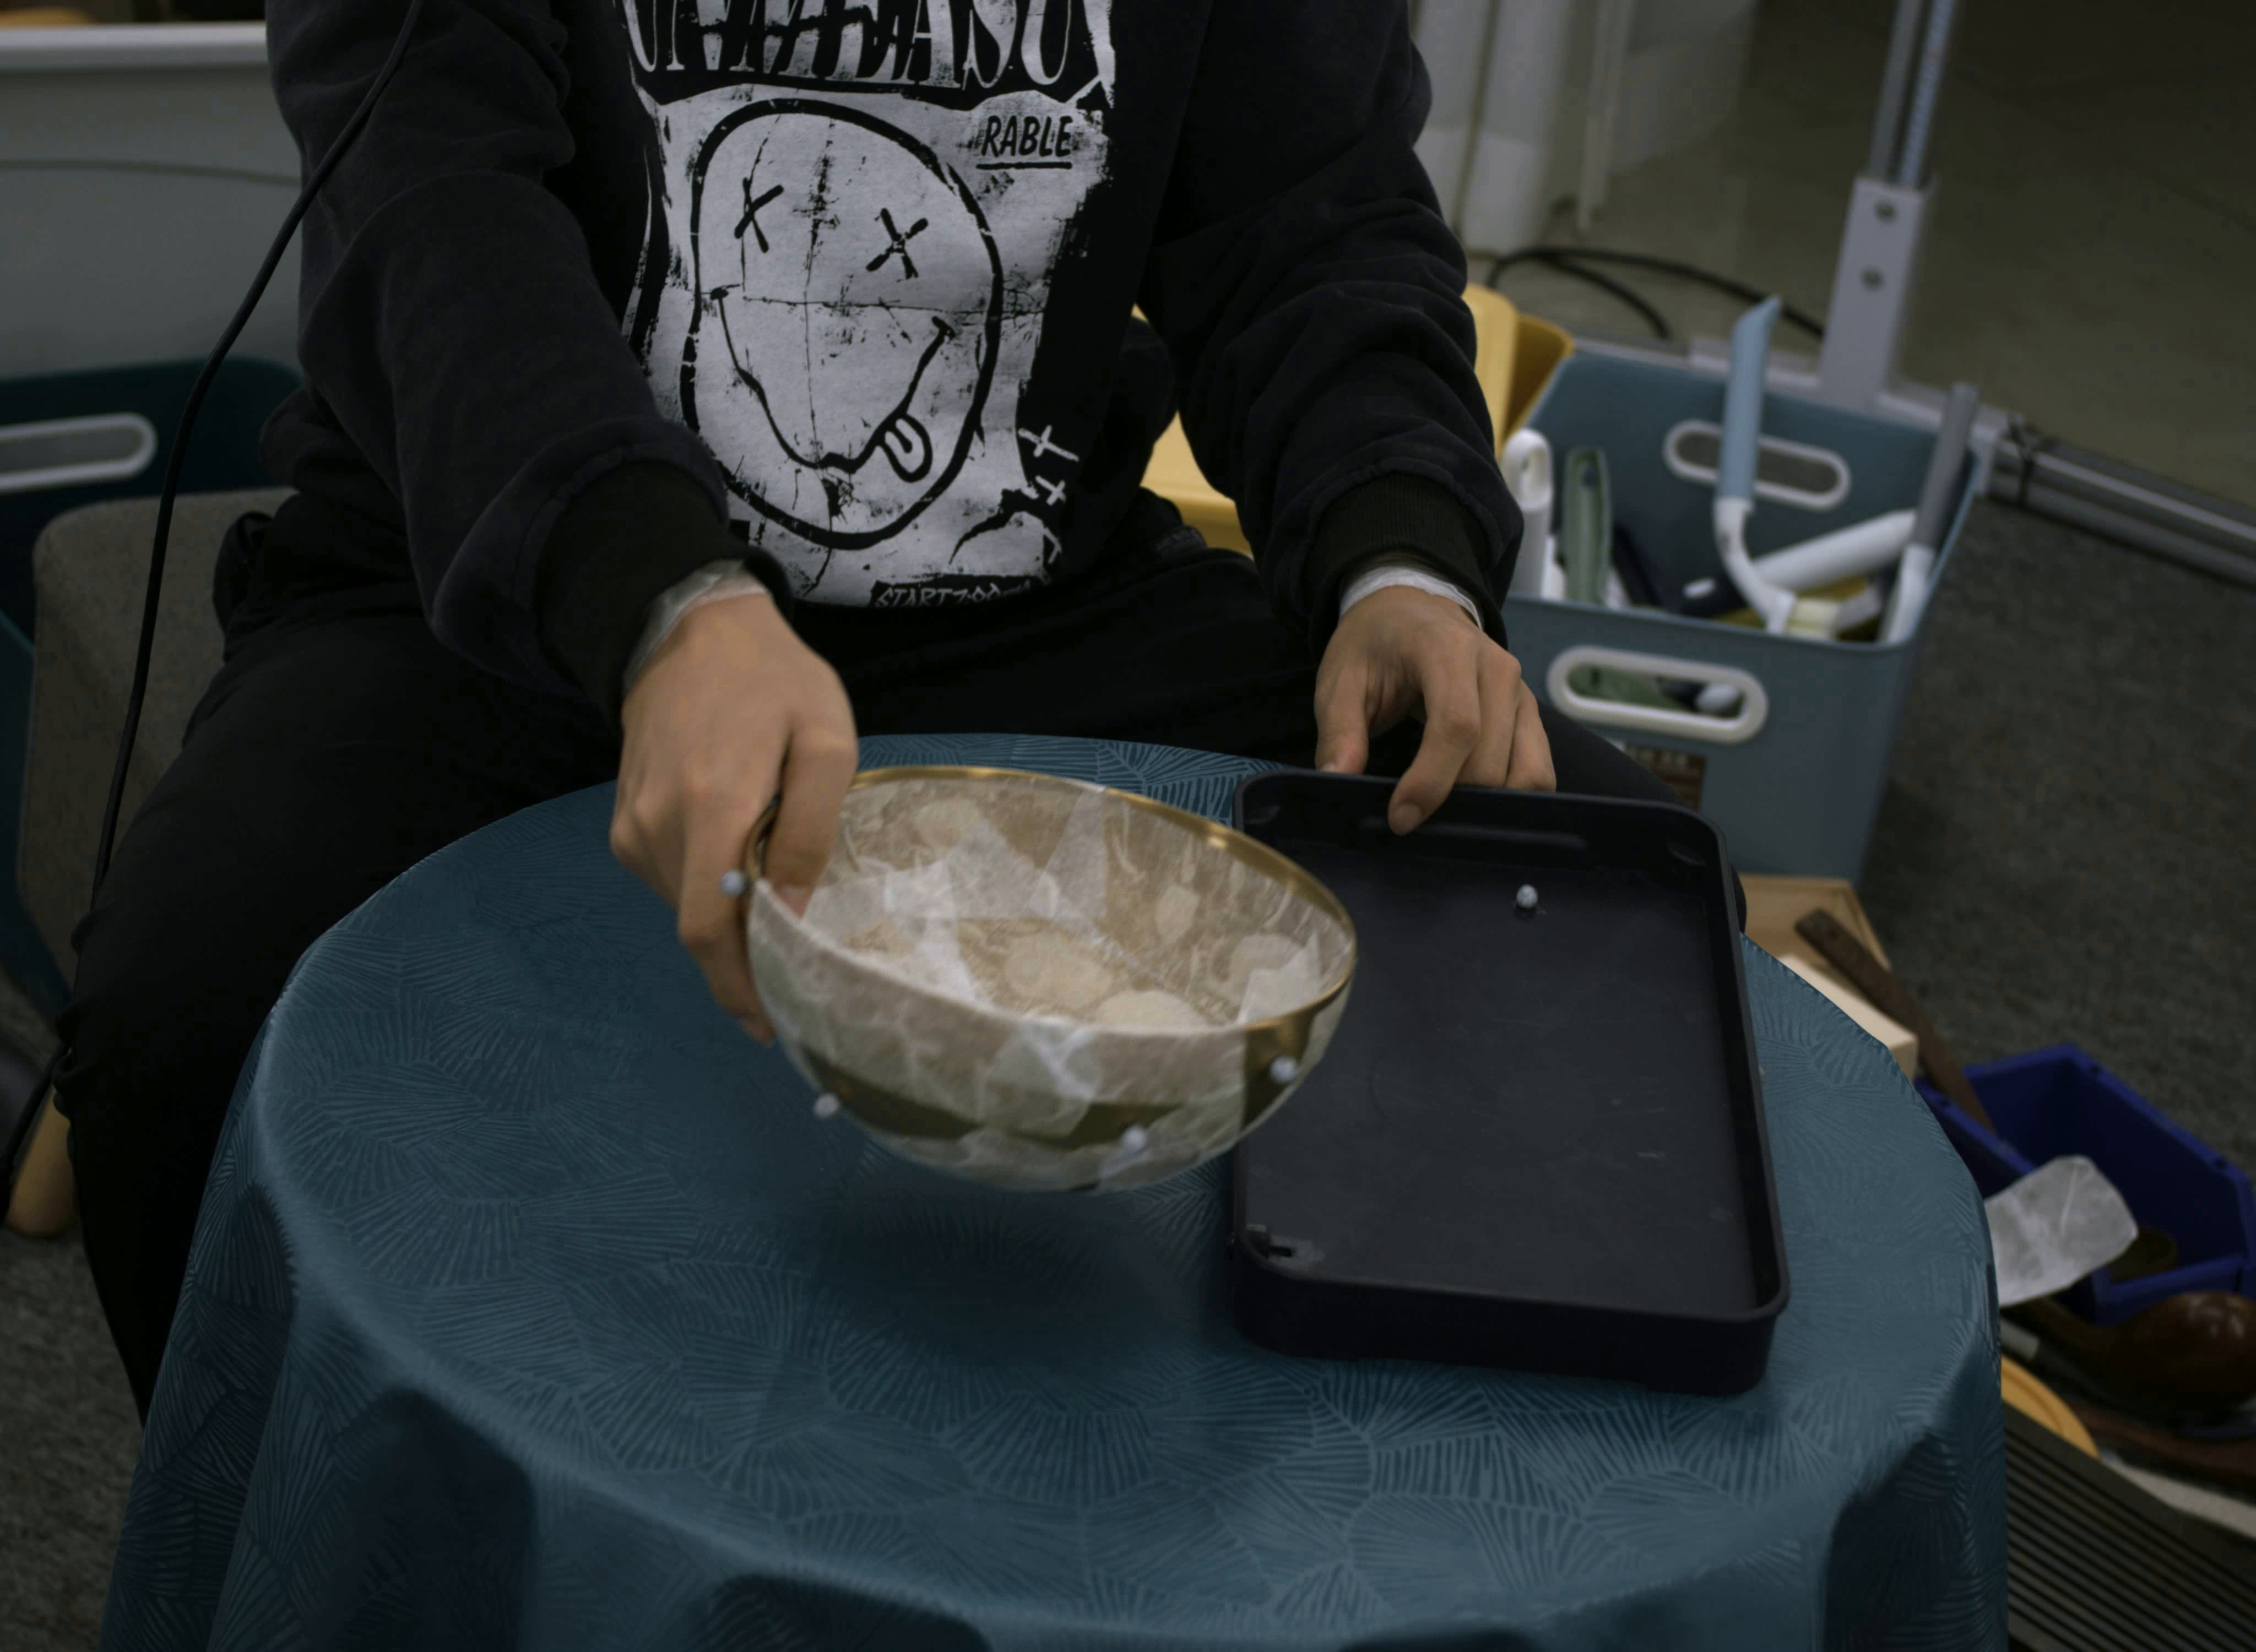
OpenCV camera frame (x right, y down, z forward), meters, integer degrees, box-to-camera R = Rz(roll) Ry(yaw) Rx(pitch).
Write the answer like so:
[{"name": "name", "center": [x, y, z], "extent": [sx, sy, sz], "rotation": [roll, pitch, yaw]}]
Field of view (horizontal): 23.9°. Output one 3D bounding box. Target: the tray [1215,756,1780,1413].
[{"name": "tray", "center": [0.125, 0.083, 1.845], "extent": [0.184, 0.037, 0.320], "rotation": [7, 33, -1]}]

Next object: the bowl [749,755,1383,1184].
[{"name": "bowl", "center": [-0.026, 0.057, 1.721], "extent": [0.214, 0.094, 0.216], "rotation": [9, 21, -4]}]
